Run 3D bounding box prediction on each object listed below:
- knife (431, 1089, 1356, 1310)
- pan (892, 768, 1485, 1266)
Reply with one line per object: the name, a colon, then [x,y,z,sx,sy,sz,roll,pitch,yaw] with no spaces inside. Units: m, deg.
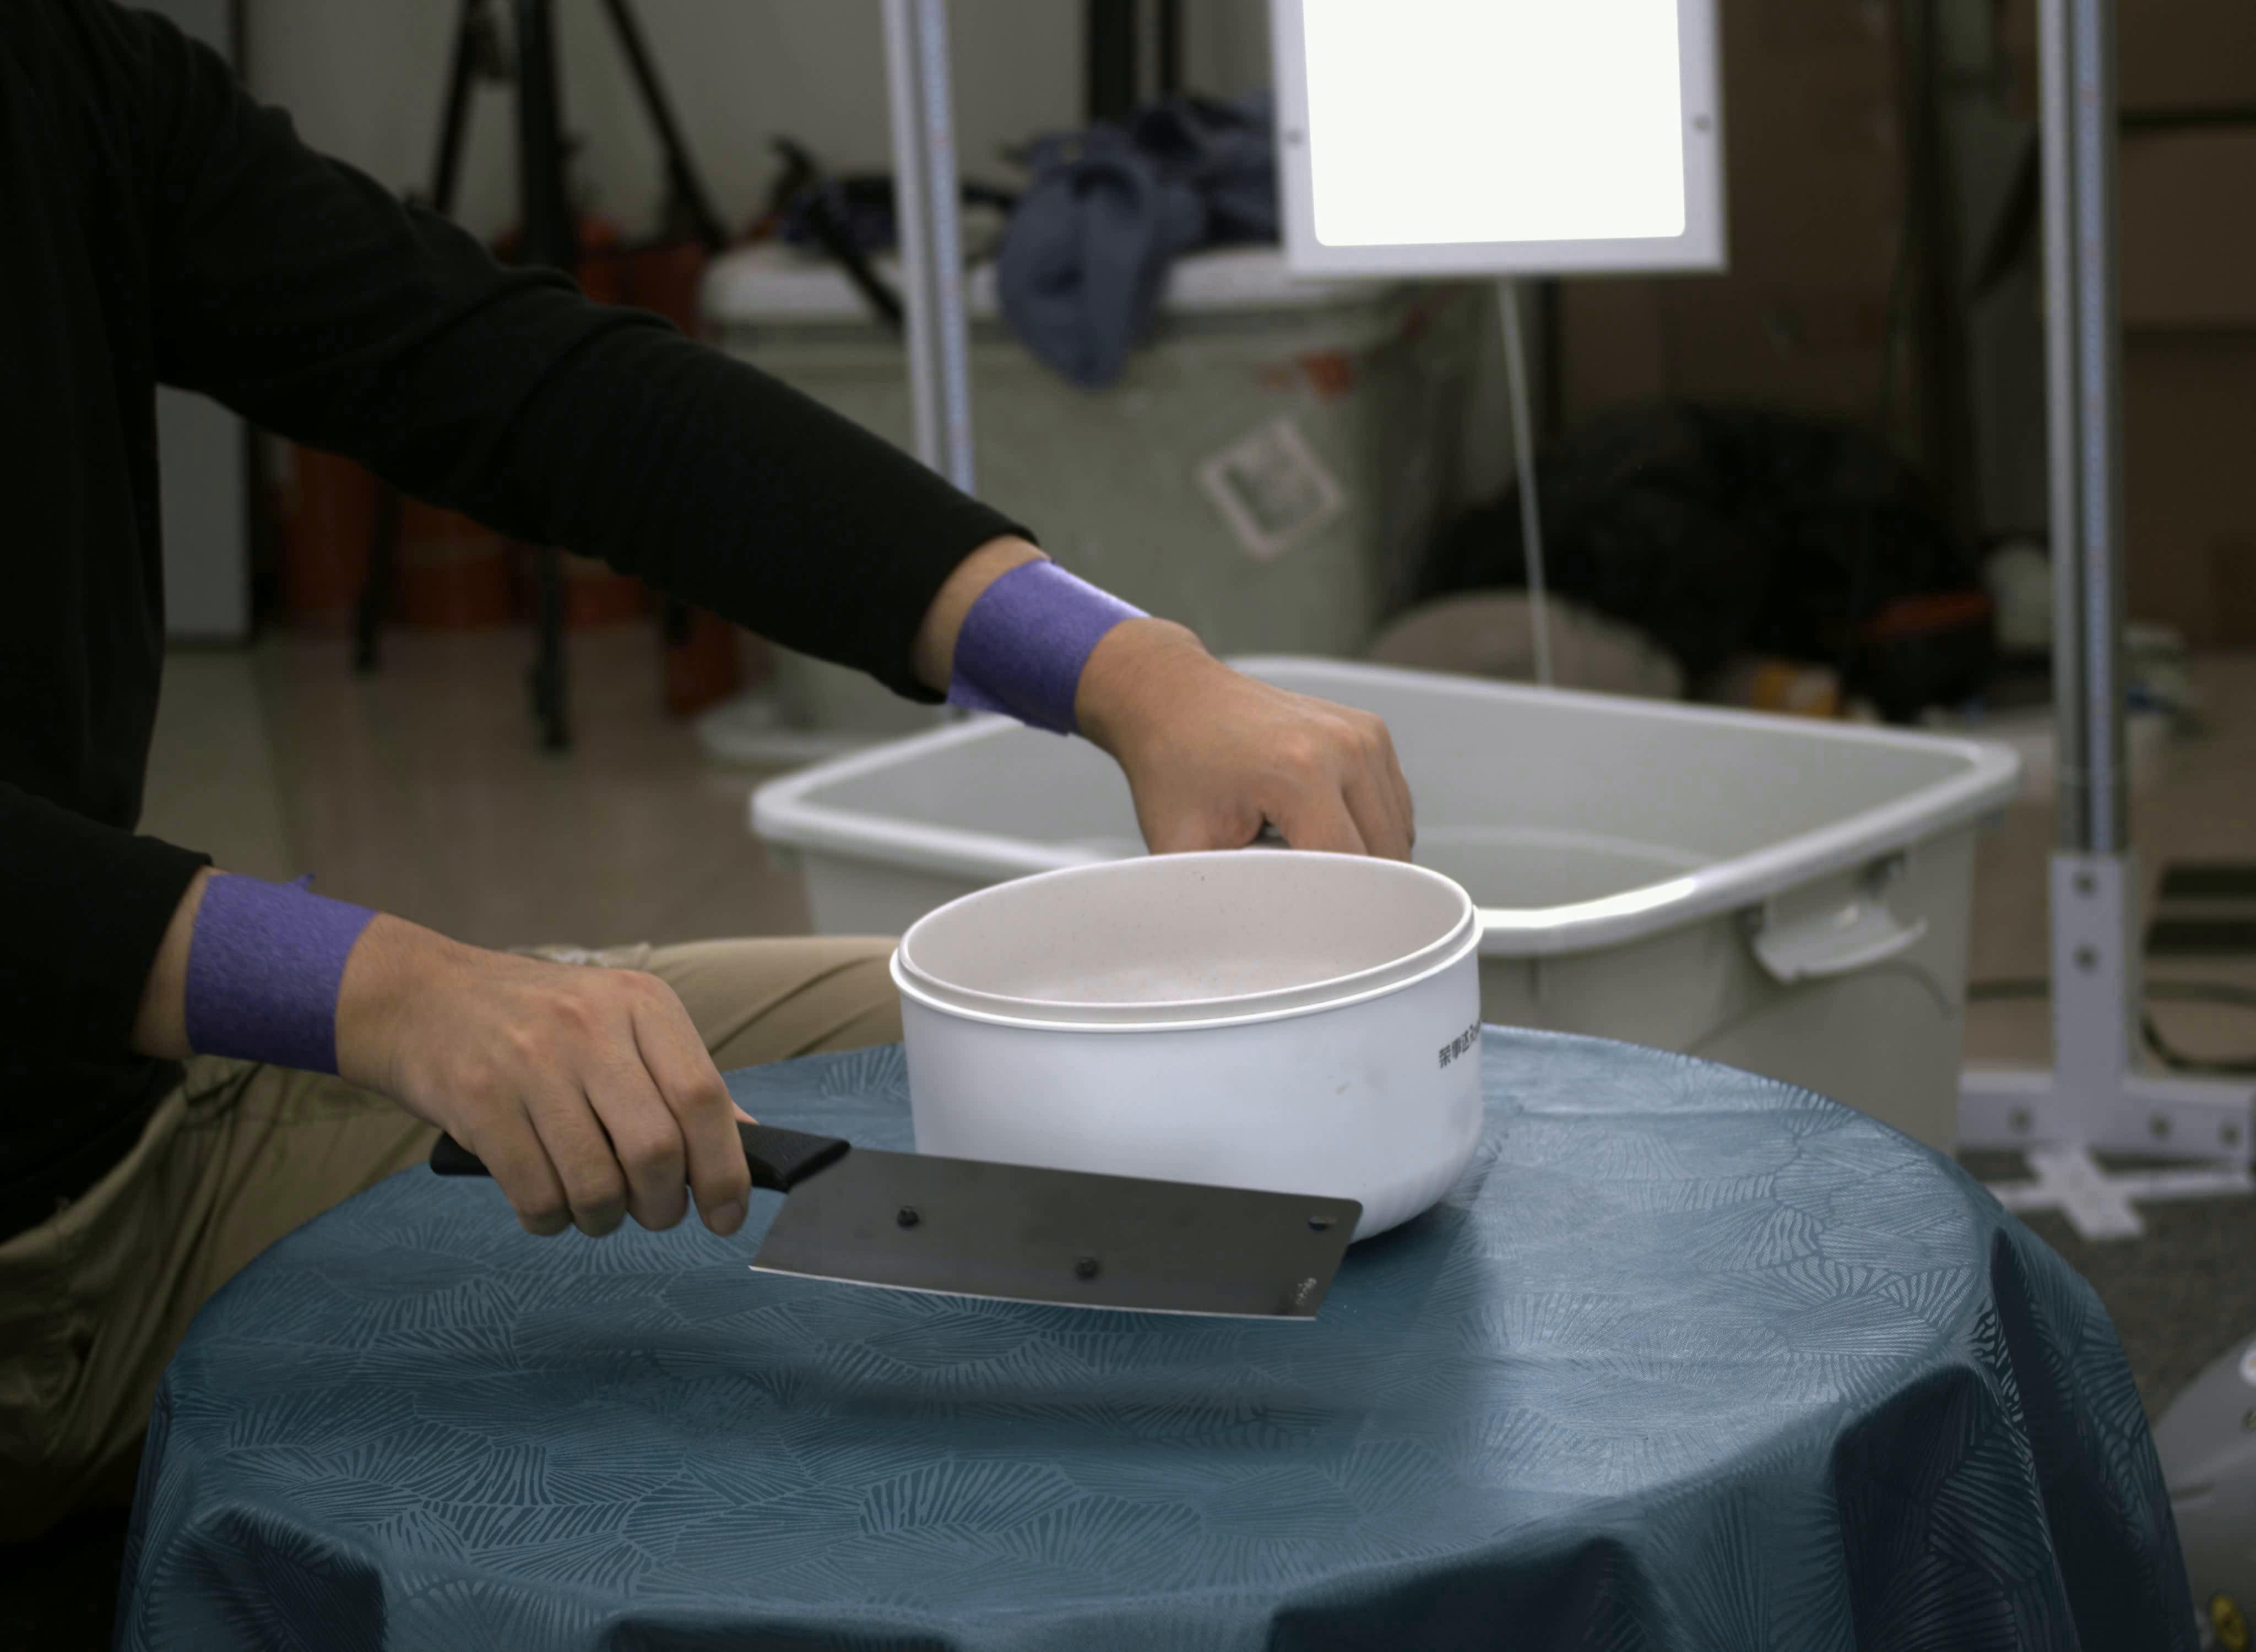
knife: [-0.078,0.115,1.712,0.306,0.021,0.079,8,35,23]
pan: [0.045,0.065,1.934,0.203,0.102,0.349,-1,13,18]
